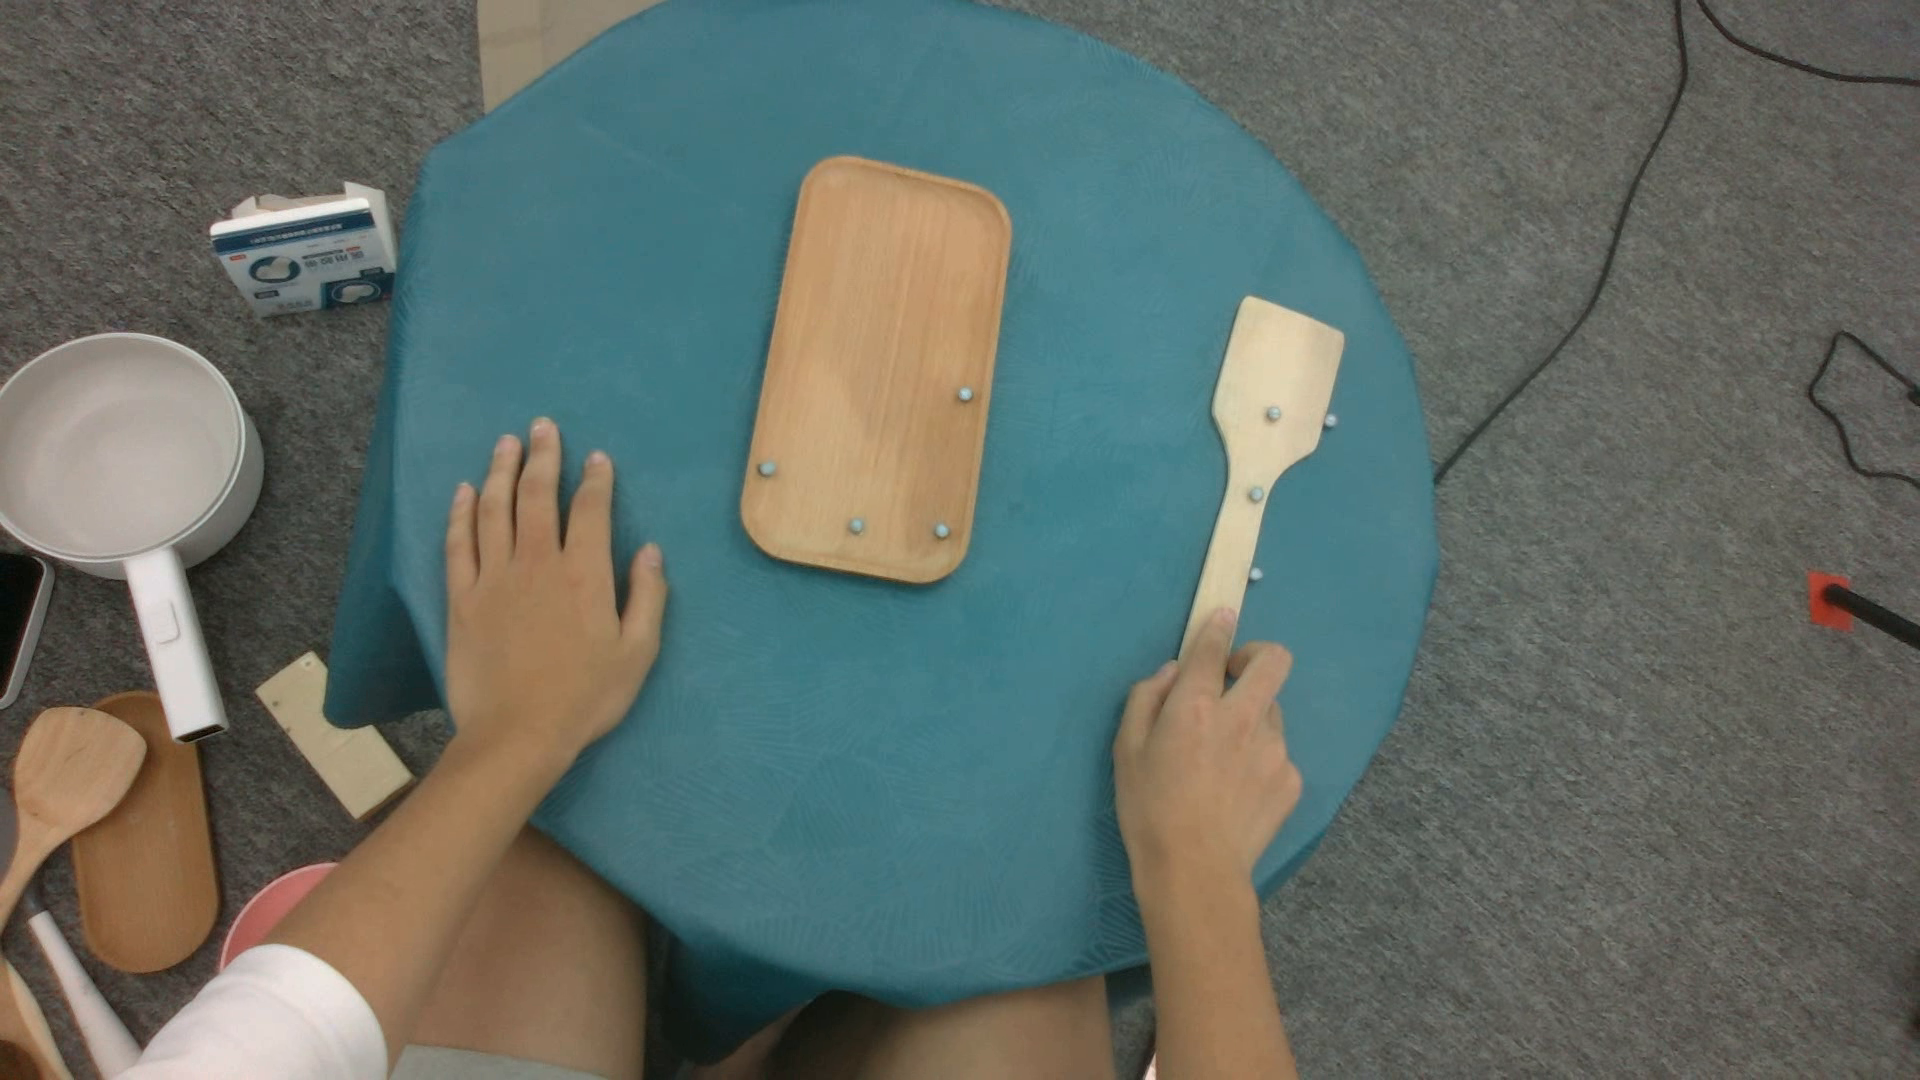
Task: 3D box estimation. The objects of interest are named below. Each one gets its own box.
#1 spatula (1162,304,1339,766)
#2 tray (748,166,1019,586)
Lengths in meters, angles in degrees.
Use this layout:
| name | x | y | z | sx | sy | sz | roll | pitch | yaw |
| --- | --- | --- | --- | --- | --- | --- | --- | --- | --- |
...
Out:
| name | x | y | z | sx | sy | sz | roll | pitch | yaw |
| --- | --- | --- | --- | --- | --- | --- | --- | --- | --- |
| spatula | 0.165 | -0.007 | 0.813 | 0.072 | 0.010 | 0.294 | 20 | 69 | -5 |
| tray | -0.041 | -0.098 | 0.799 | 0.130 | 0.023 | 0.251 | 12 | 71 | -10 |
